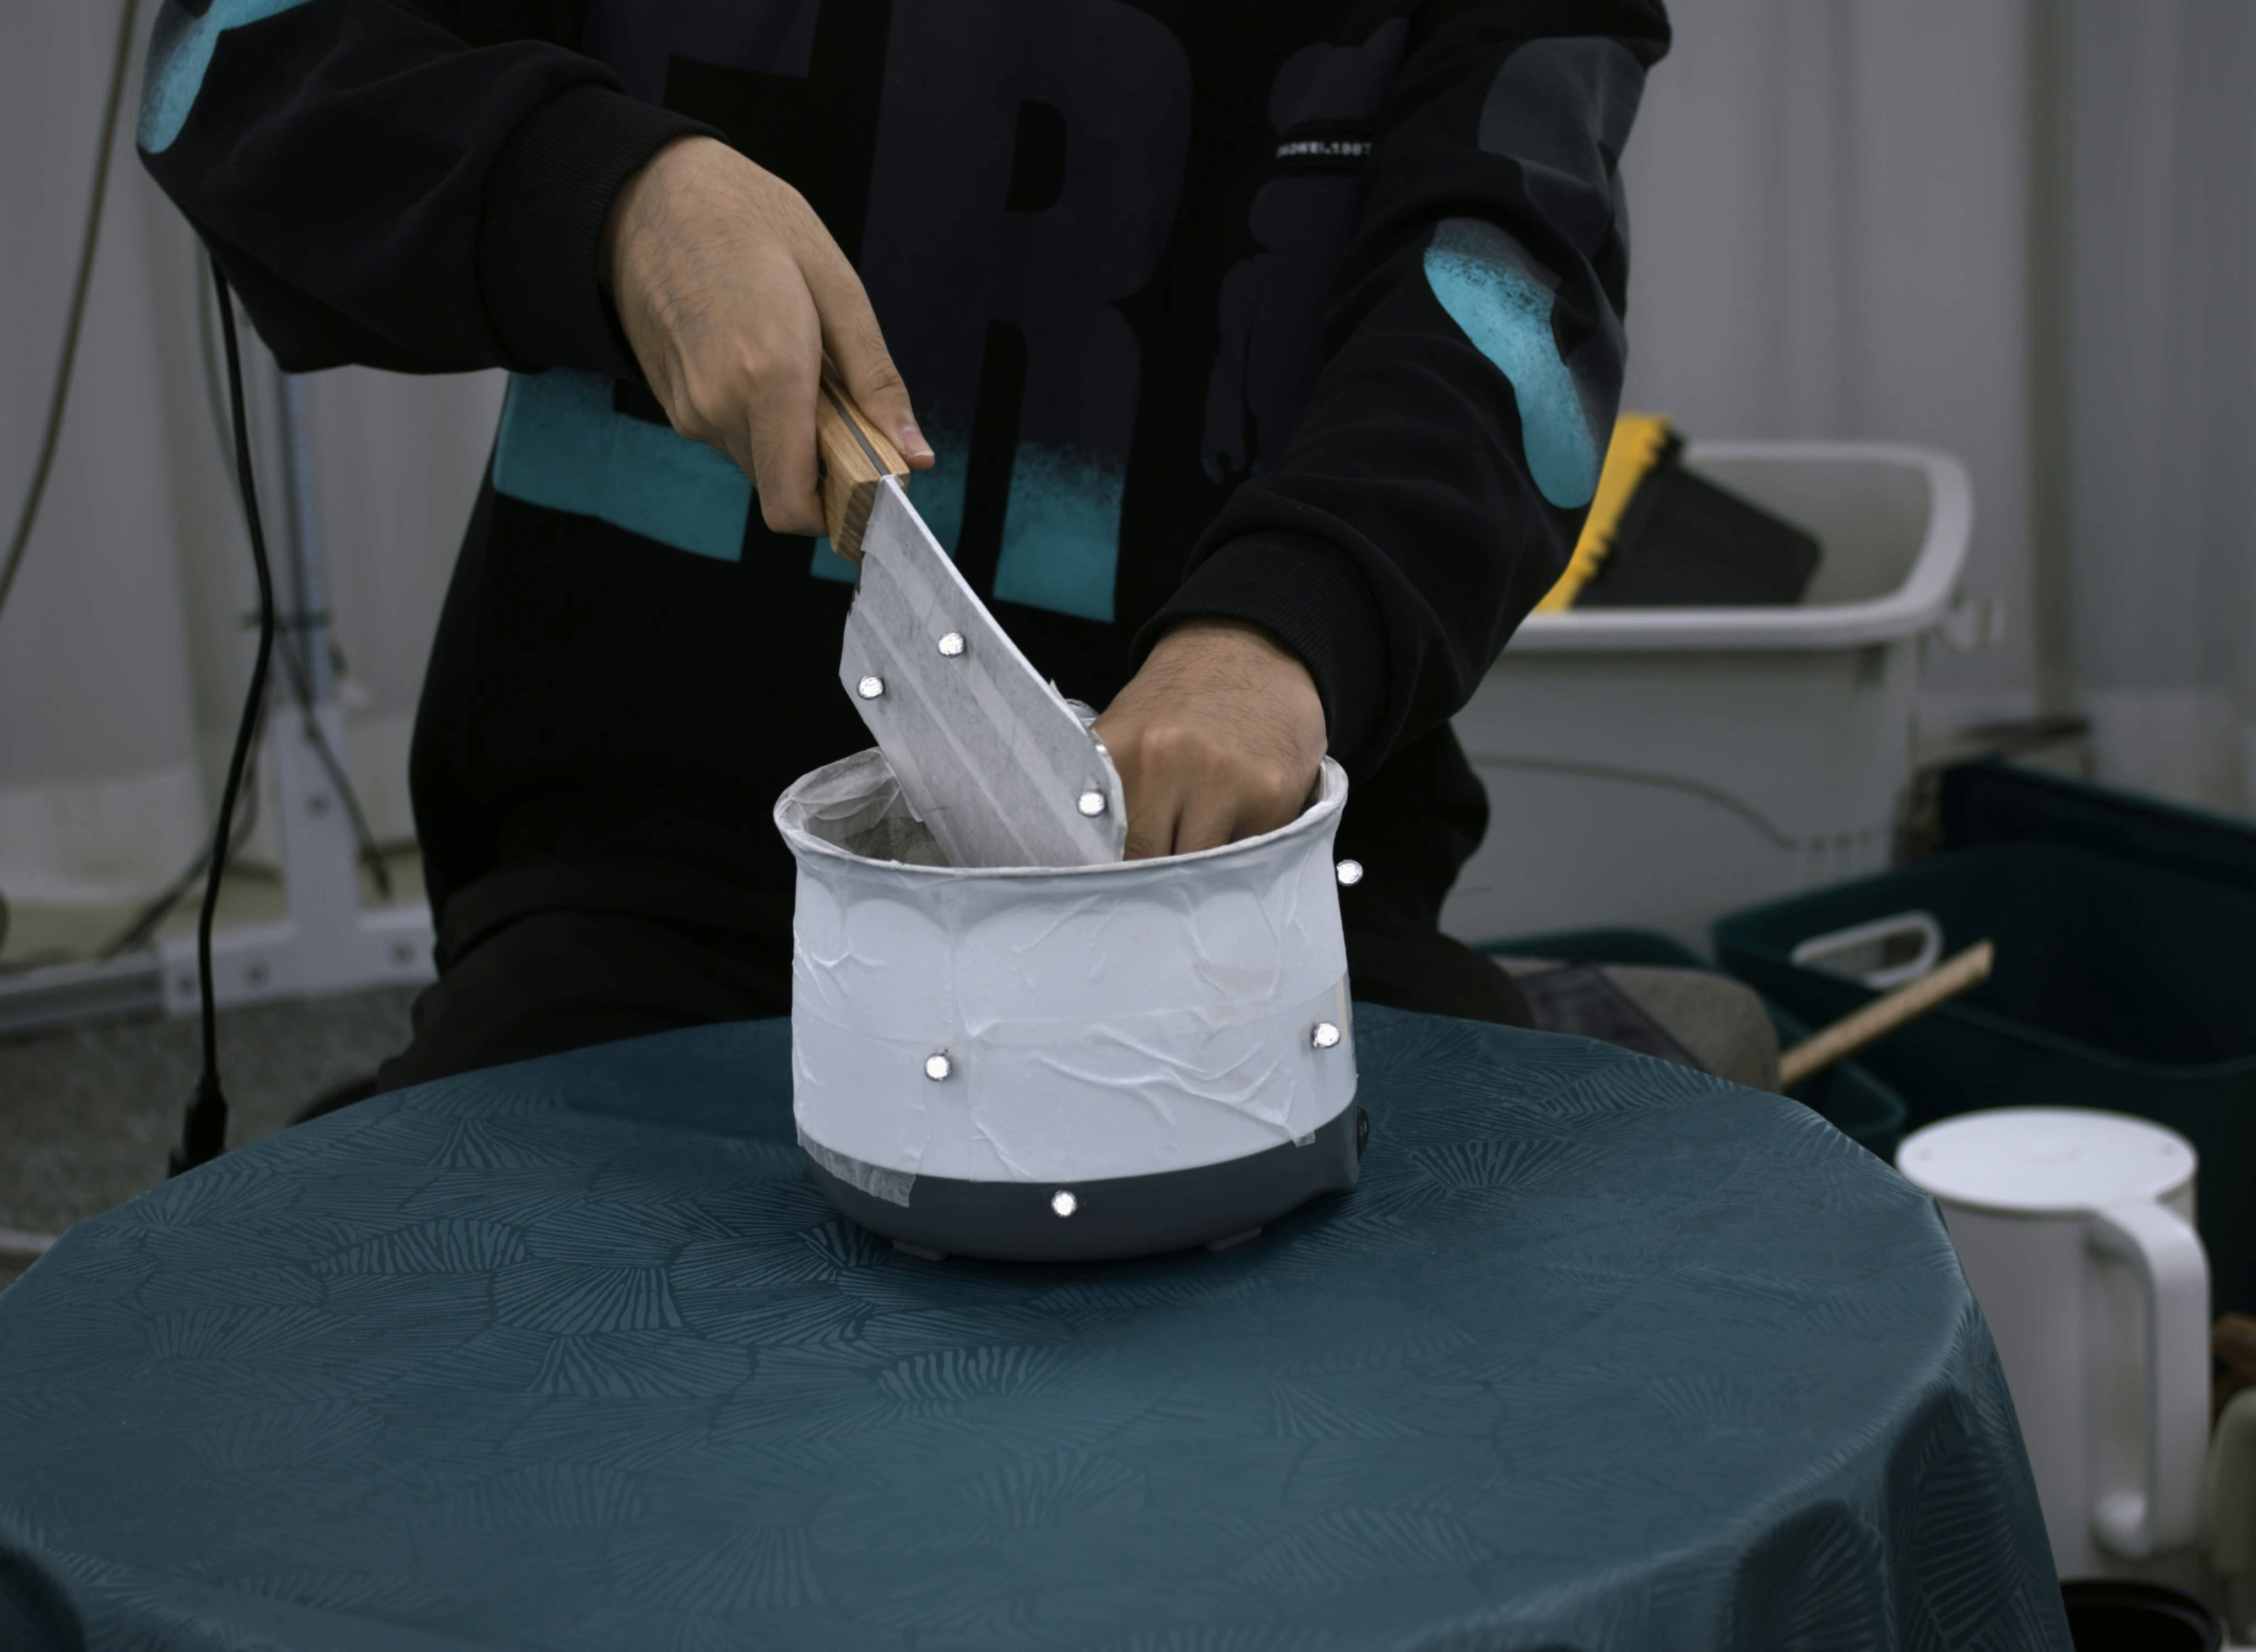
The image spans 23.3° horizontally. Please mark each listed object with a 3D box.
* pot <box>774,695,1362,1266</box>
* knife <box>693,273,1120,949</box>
[{"bbox_3d":[-0.018,0.043,1.721,0.178,0.136,0.235,-2,15,0],"label":"pot"},{"bbox_3d":[-0.070,-0.068,1.711,0.021,0.113,0.320,-8,46,-26],"label":"knife"}]
